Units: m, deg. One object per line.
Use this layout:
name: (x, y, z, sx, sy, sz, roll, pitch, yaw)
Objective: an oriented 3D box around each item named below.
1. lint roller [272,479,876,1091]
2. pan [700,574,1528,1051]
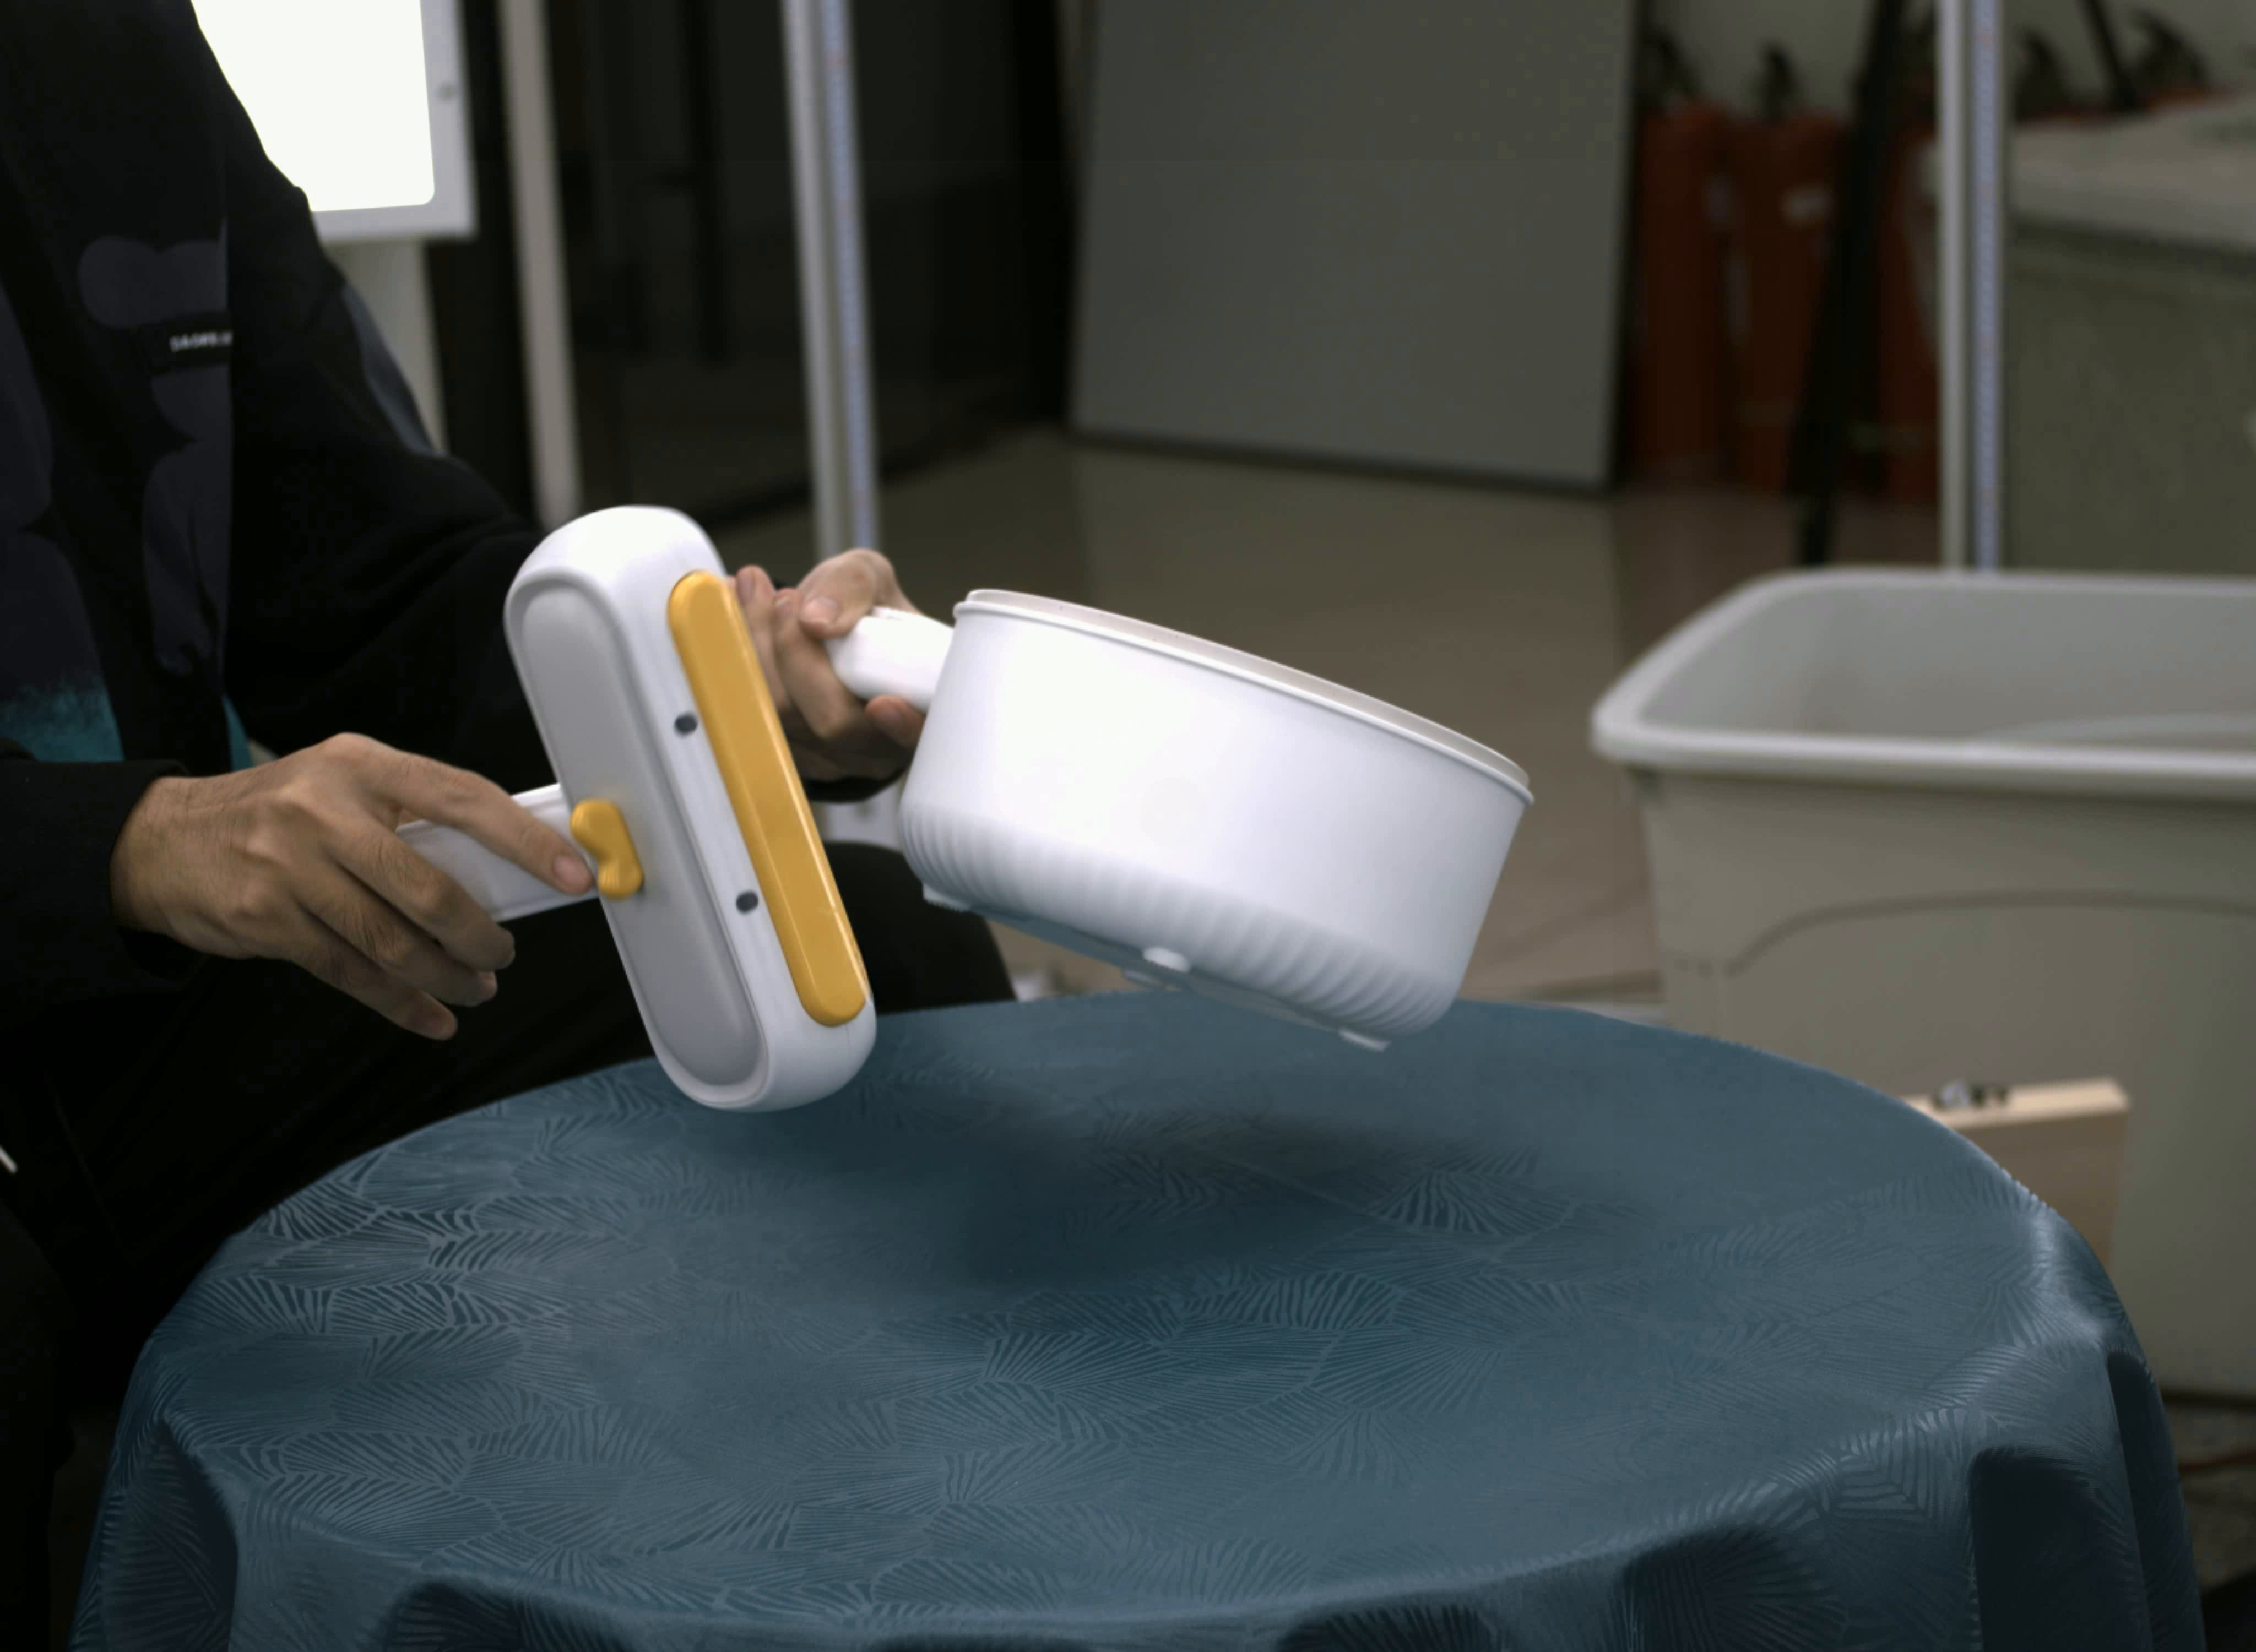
lint roller: (-0.183, 0.005, 1.672, 0.194, 0.194, 0.073, -16, 15, 40)
pan: (-0.030, -0.013, 1.817, 0.358, 0.103, 0.197, 14, -7, 45)
